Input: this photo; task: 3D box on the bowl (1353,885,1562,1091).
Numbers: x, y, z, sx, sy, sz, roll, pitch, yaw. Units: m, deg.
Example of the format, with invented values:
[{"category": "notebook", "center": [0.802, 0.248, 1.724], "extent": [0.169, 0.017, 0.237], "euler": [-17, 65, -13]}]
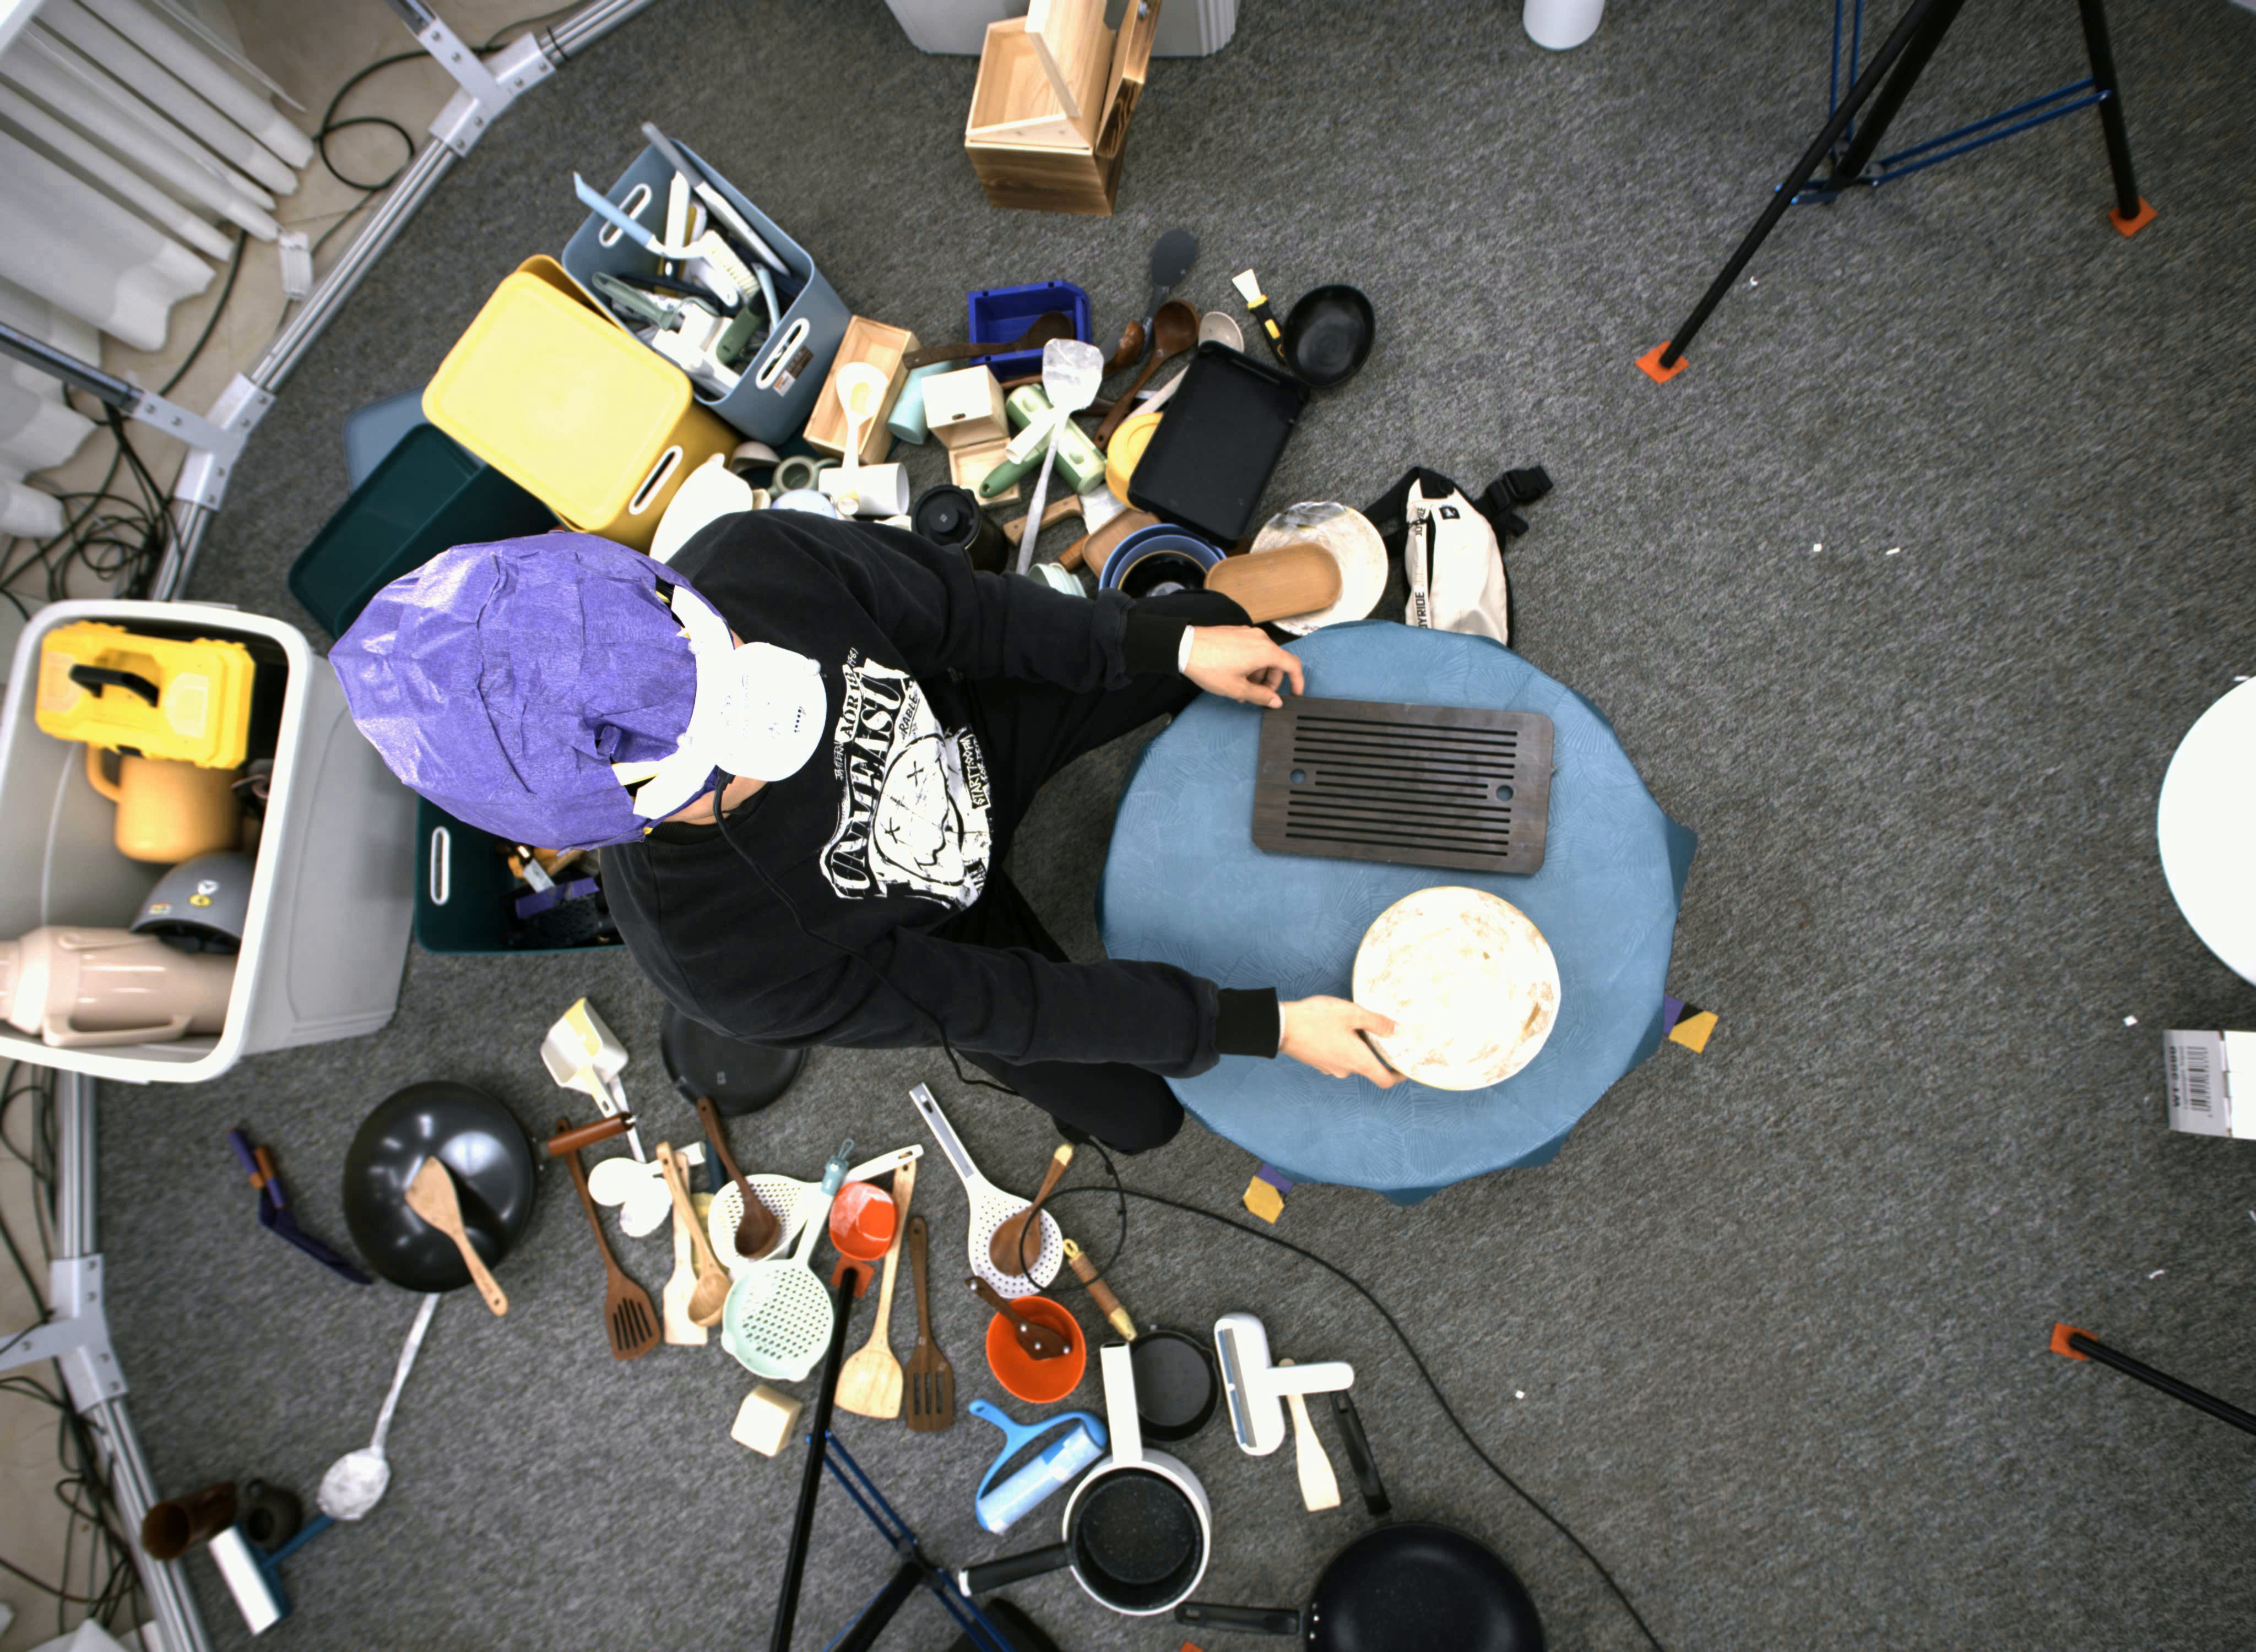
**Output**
[{"category": "bowl", "center": [0.328, 0.160, 1.401], "extent": [0.215, 0.094, 0.214], "euler": [-1, 87, 10]}]

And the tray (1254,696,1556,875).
[{"category": "tray", "center": [0.292, -0.046, 1.460], "extent": [0.307, 0.018, 0.169], "euler": [5, 87, 11]}]
